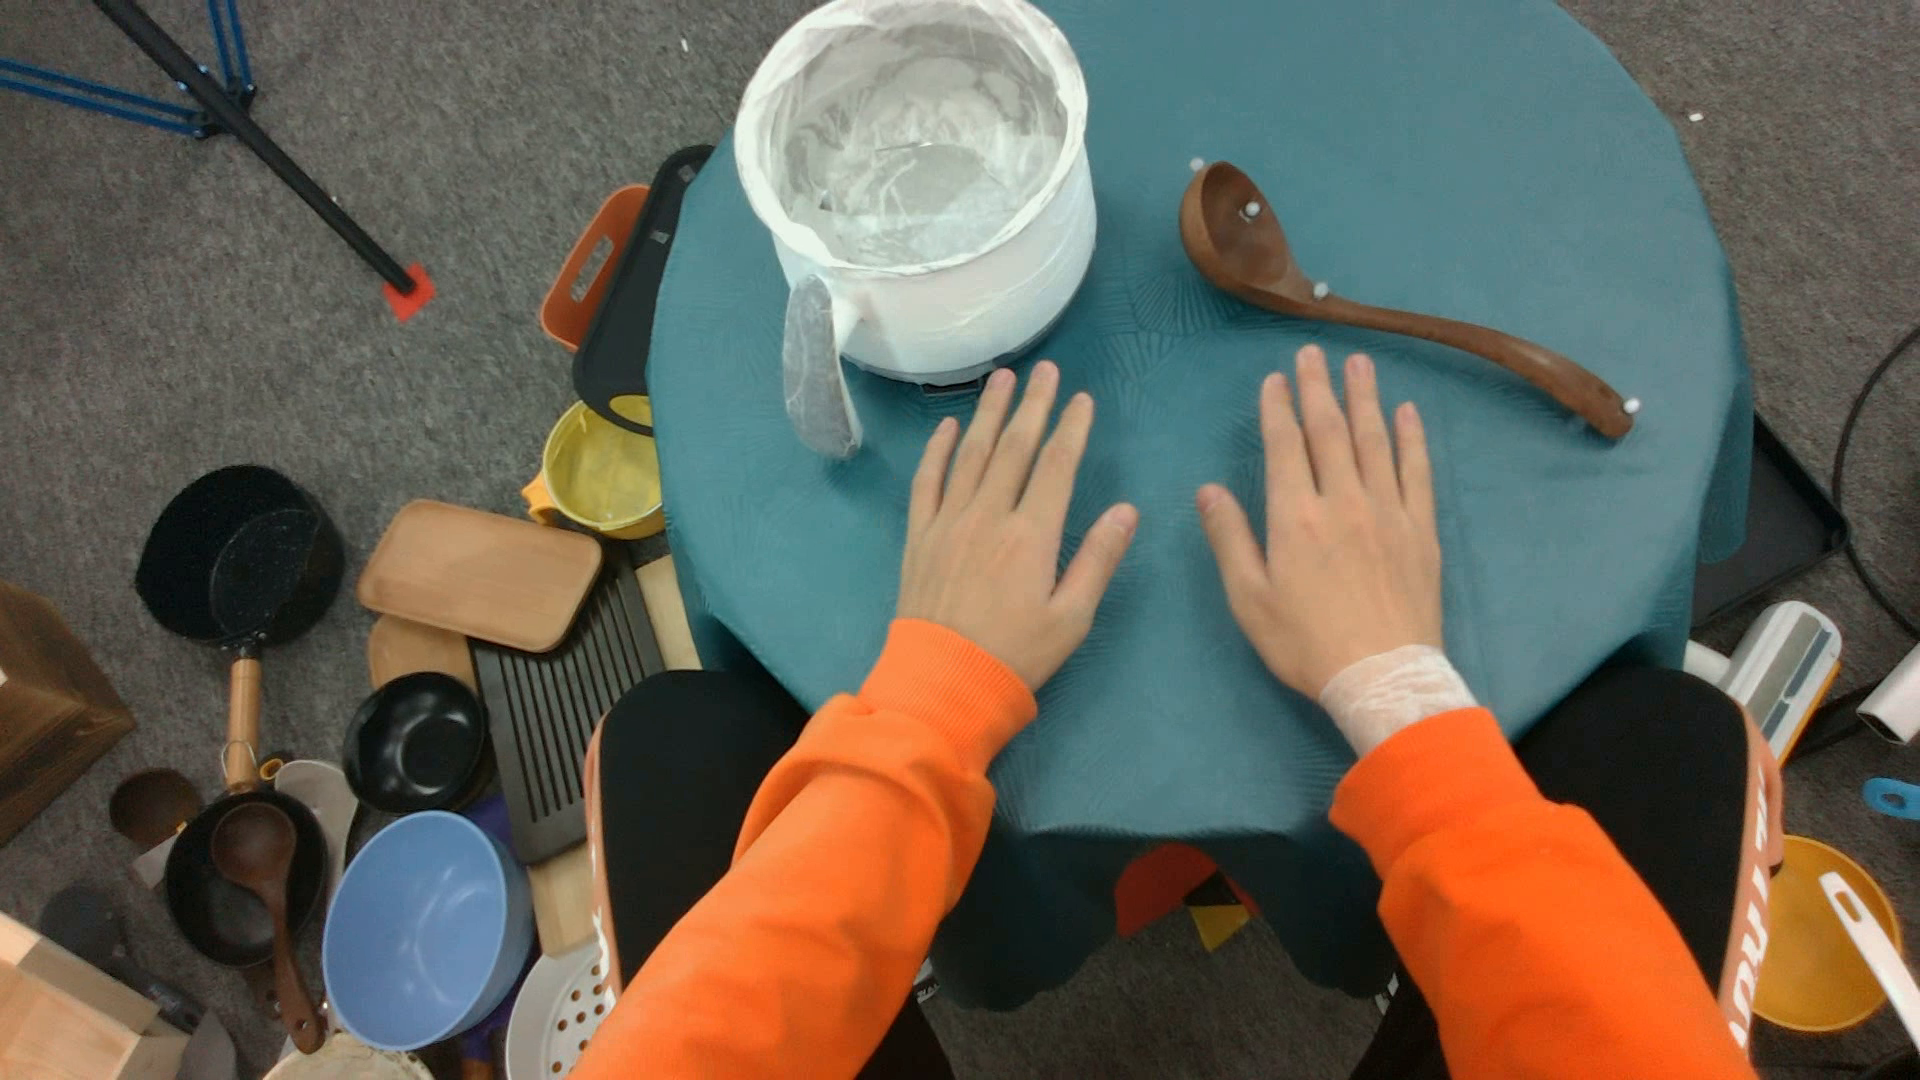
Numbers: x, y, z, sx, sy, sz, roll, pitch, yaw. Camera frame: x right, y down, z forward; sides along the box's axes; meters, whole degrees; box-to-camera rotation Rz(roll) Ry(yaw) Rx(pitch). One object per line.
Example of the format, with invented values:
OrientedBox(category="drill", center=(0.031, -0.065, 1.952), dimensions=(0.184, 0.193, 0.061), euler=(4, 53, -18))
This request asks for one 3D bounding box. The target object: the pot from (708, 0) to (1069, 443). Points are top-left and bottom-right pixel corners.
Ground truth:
OrientedBox(category="pot", center=(-0.043, -0.169, 0.735), dimensions=(0.178, 0.136, 0.234), euler=(21, 73, 15))

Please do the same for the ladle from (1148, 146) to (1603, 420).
OrientedBox(category="ladle", center=(0.219, -0.137, 0.728), dimensions=(0.260, 0.065, 0.077), euler=(25, 52, 17))
